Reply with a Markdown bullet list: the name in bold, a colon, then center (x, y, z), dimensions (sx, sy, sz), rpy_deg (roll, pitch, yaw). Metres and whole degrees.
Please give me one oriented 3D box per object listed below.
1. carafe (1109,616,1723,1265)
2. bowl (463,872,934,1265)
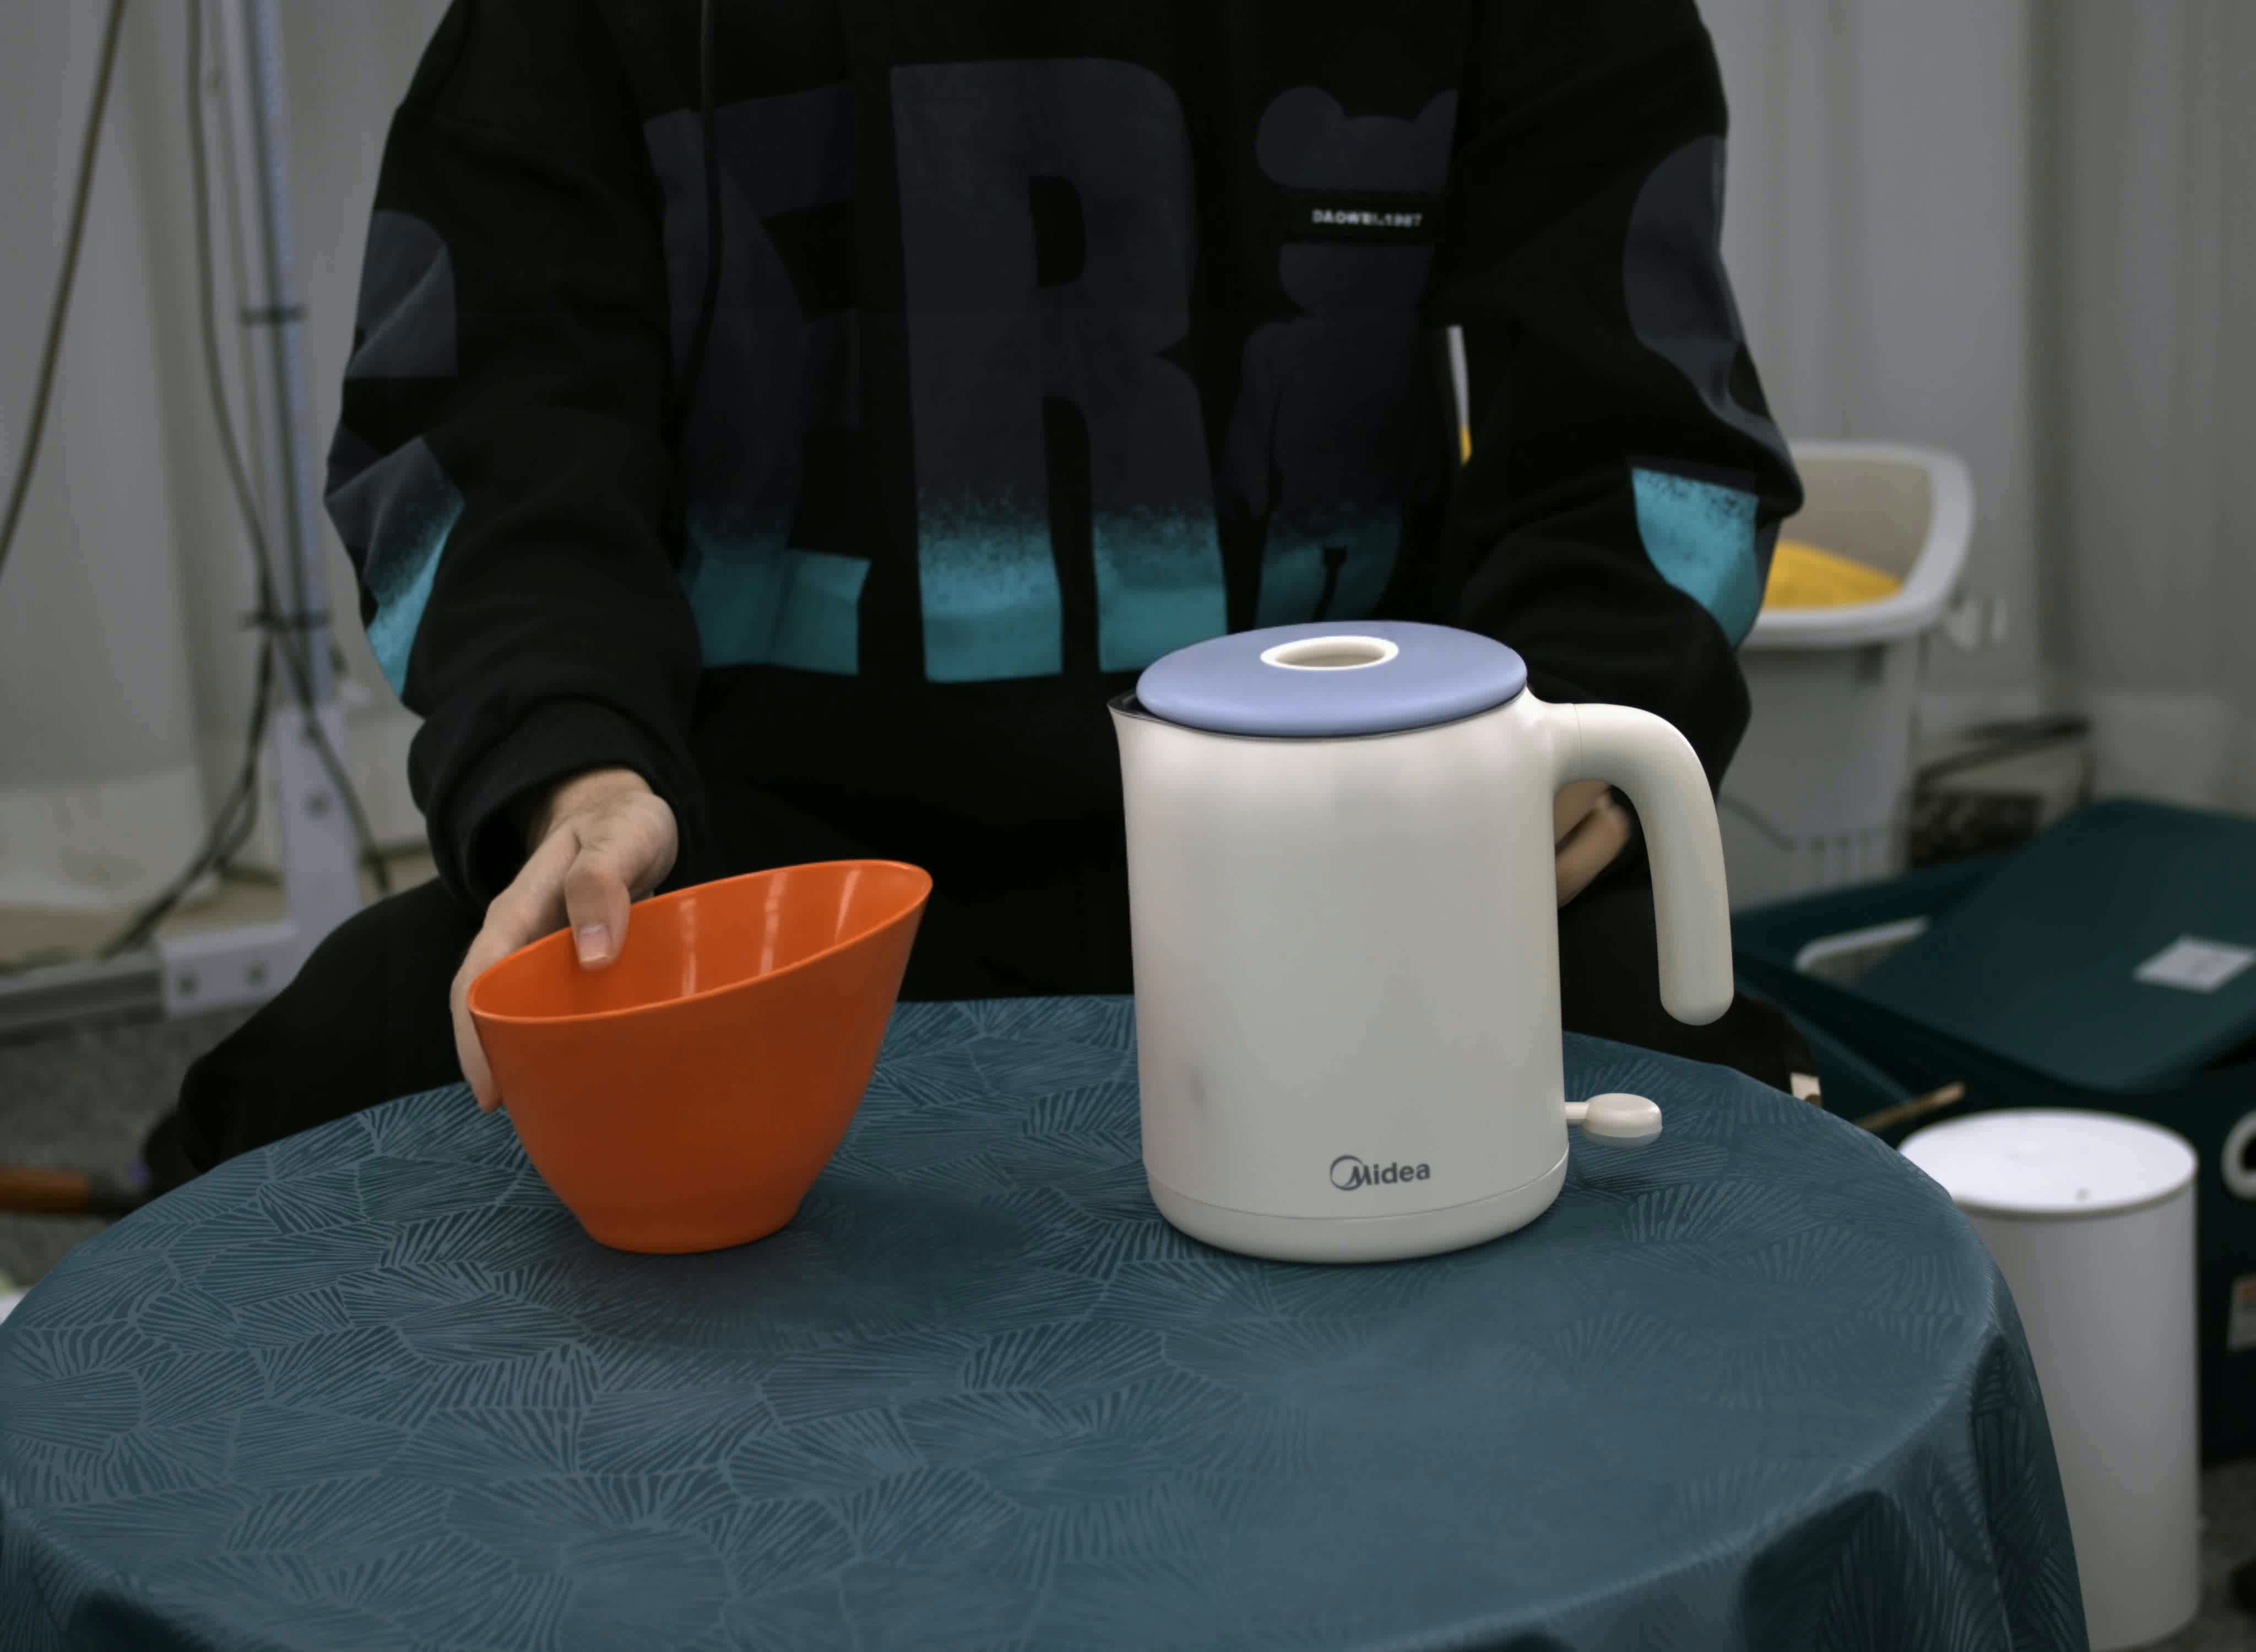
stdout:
- **carafe**: center (0.089, 0.033, 1.676), dimensions (0.190, 0.182, 0.133), rpy_deg (-2, 15, -6)
- **bowl**: center (-0.130, 0.076, 1.691), dimensions (0.147, 0.104, 0.149), rpy_deg (-3, 14, 1)
